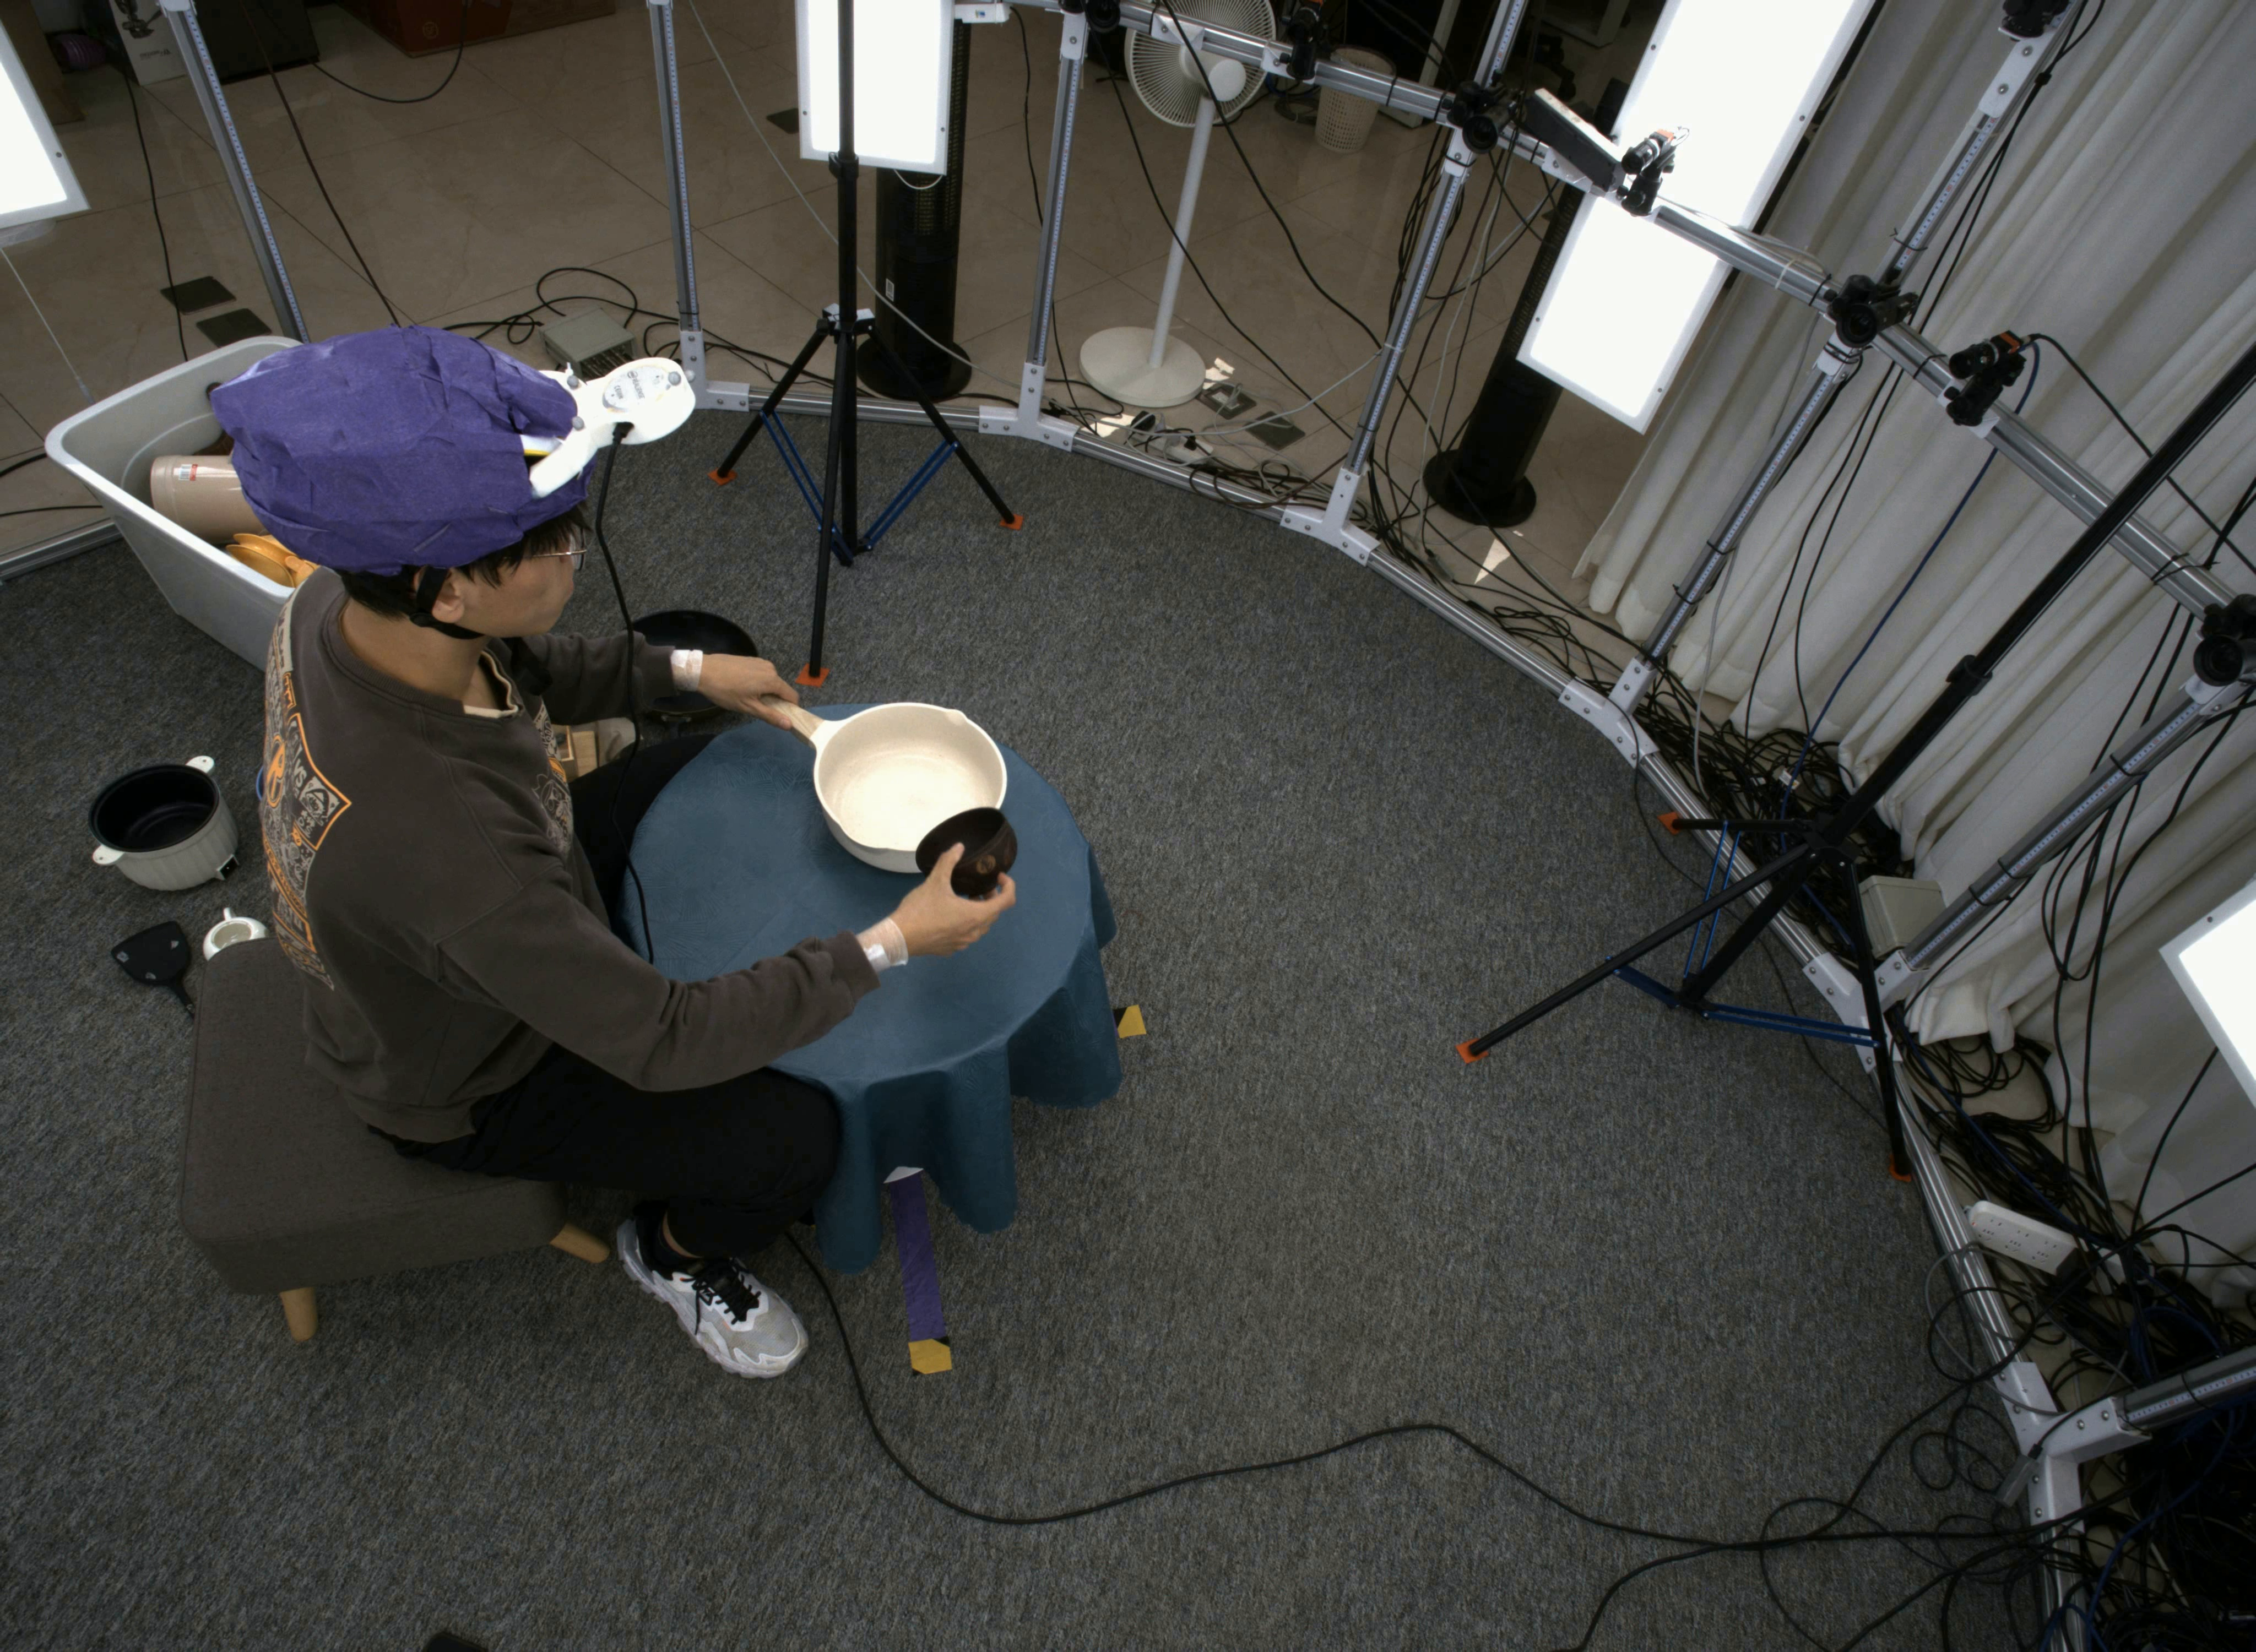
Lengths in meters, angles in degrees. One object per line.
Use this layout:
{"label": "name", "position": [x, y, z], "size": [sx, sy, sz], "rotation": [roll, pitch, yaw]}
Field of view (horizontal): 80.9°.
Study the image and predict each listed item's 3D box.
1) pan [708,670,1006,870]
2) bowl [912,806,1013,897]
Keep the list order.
{"label": "pan", "position": [-0.373, -0.091, 1.755], "size": [0.429, 0.104, 0.262], "rotation": [24, 55, 5]}
{"label": "bowl", "position": [-0.189, 0.038, 1.543], "size": [0.116, 0.072, 0.115], "rotation": [-16, 34, 13]}
